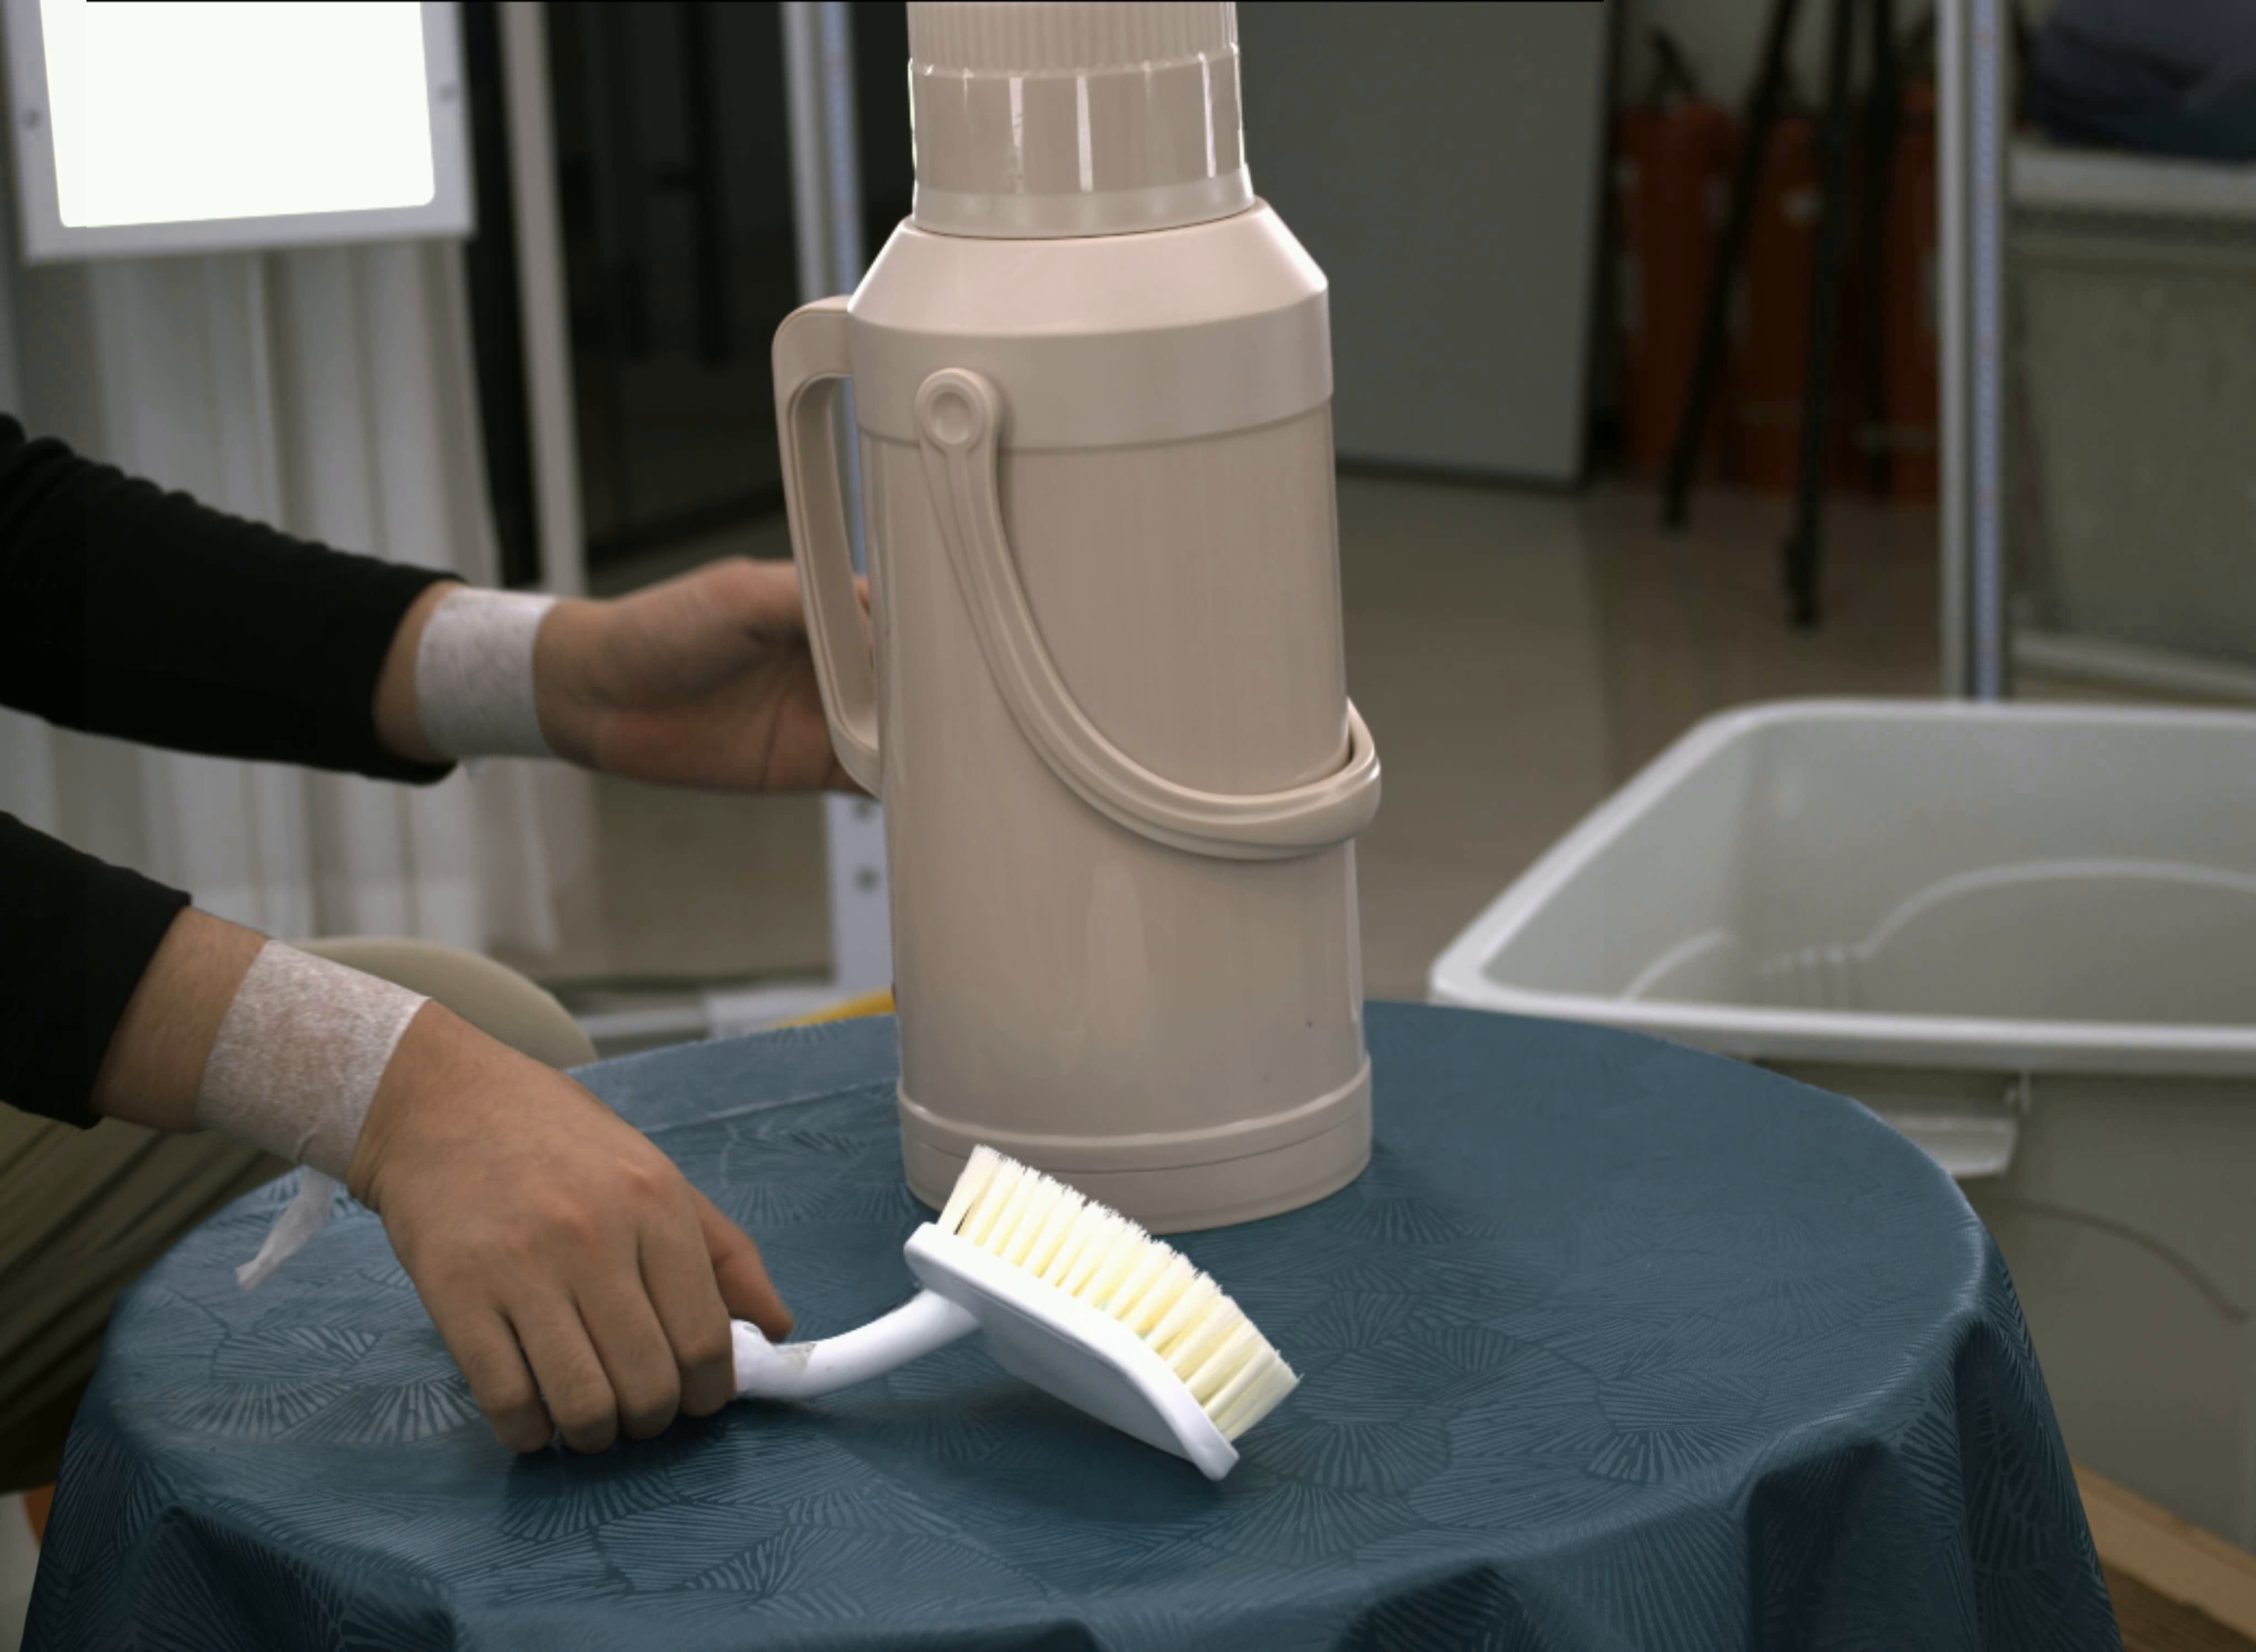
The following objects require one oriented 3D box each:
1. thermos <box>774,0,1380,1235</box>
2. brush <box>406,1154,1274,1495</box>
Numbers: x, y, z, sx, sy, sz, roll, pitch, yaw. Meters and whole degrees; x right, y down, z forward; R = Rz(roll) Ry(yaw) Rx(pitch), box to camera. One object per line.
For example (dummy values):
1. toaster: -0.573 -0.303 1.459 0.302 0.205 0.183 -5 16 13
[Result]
1. thermos: -0.019 -0.082 1.764 0.208 0.410 0.173 5 17 30
2. brush: -0.086 0.130 1.599 0.328 0.084 0.083 8 18 40
